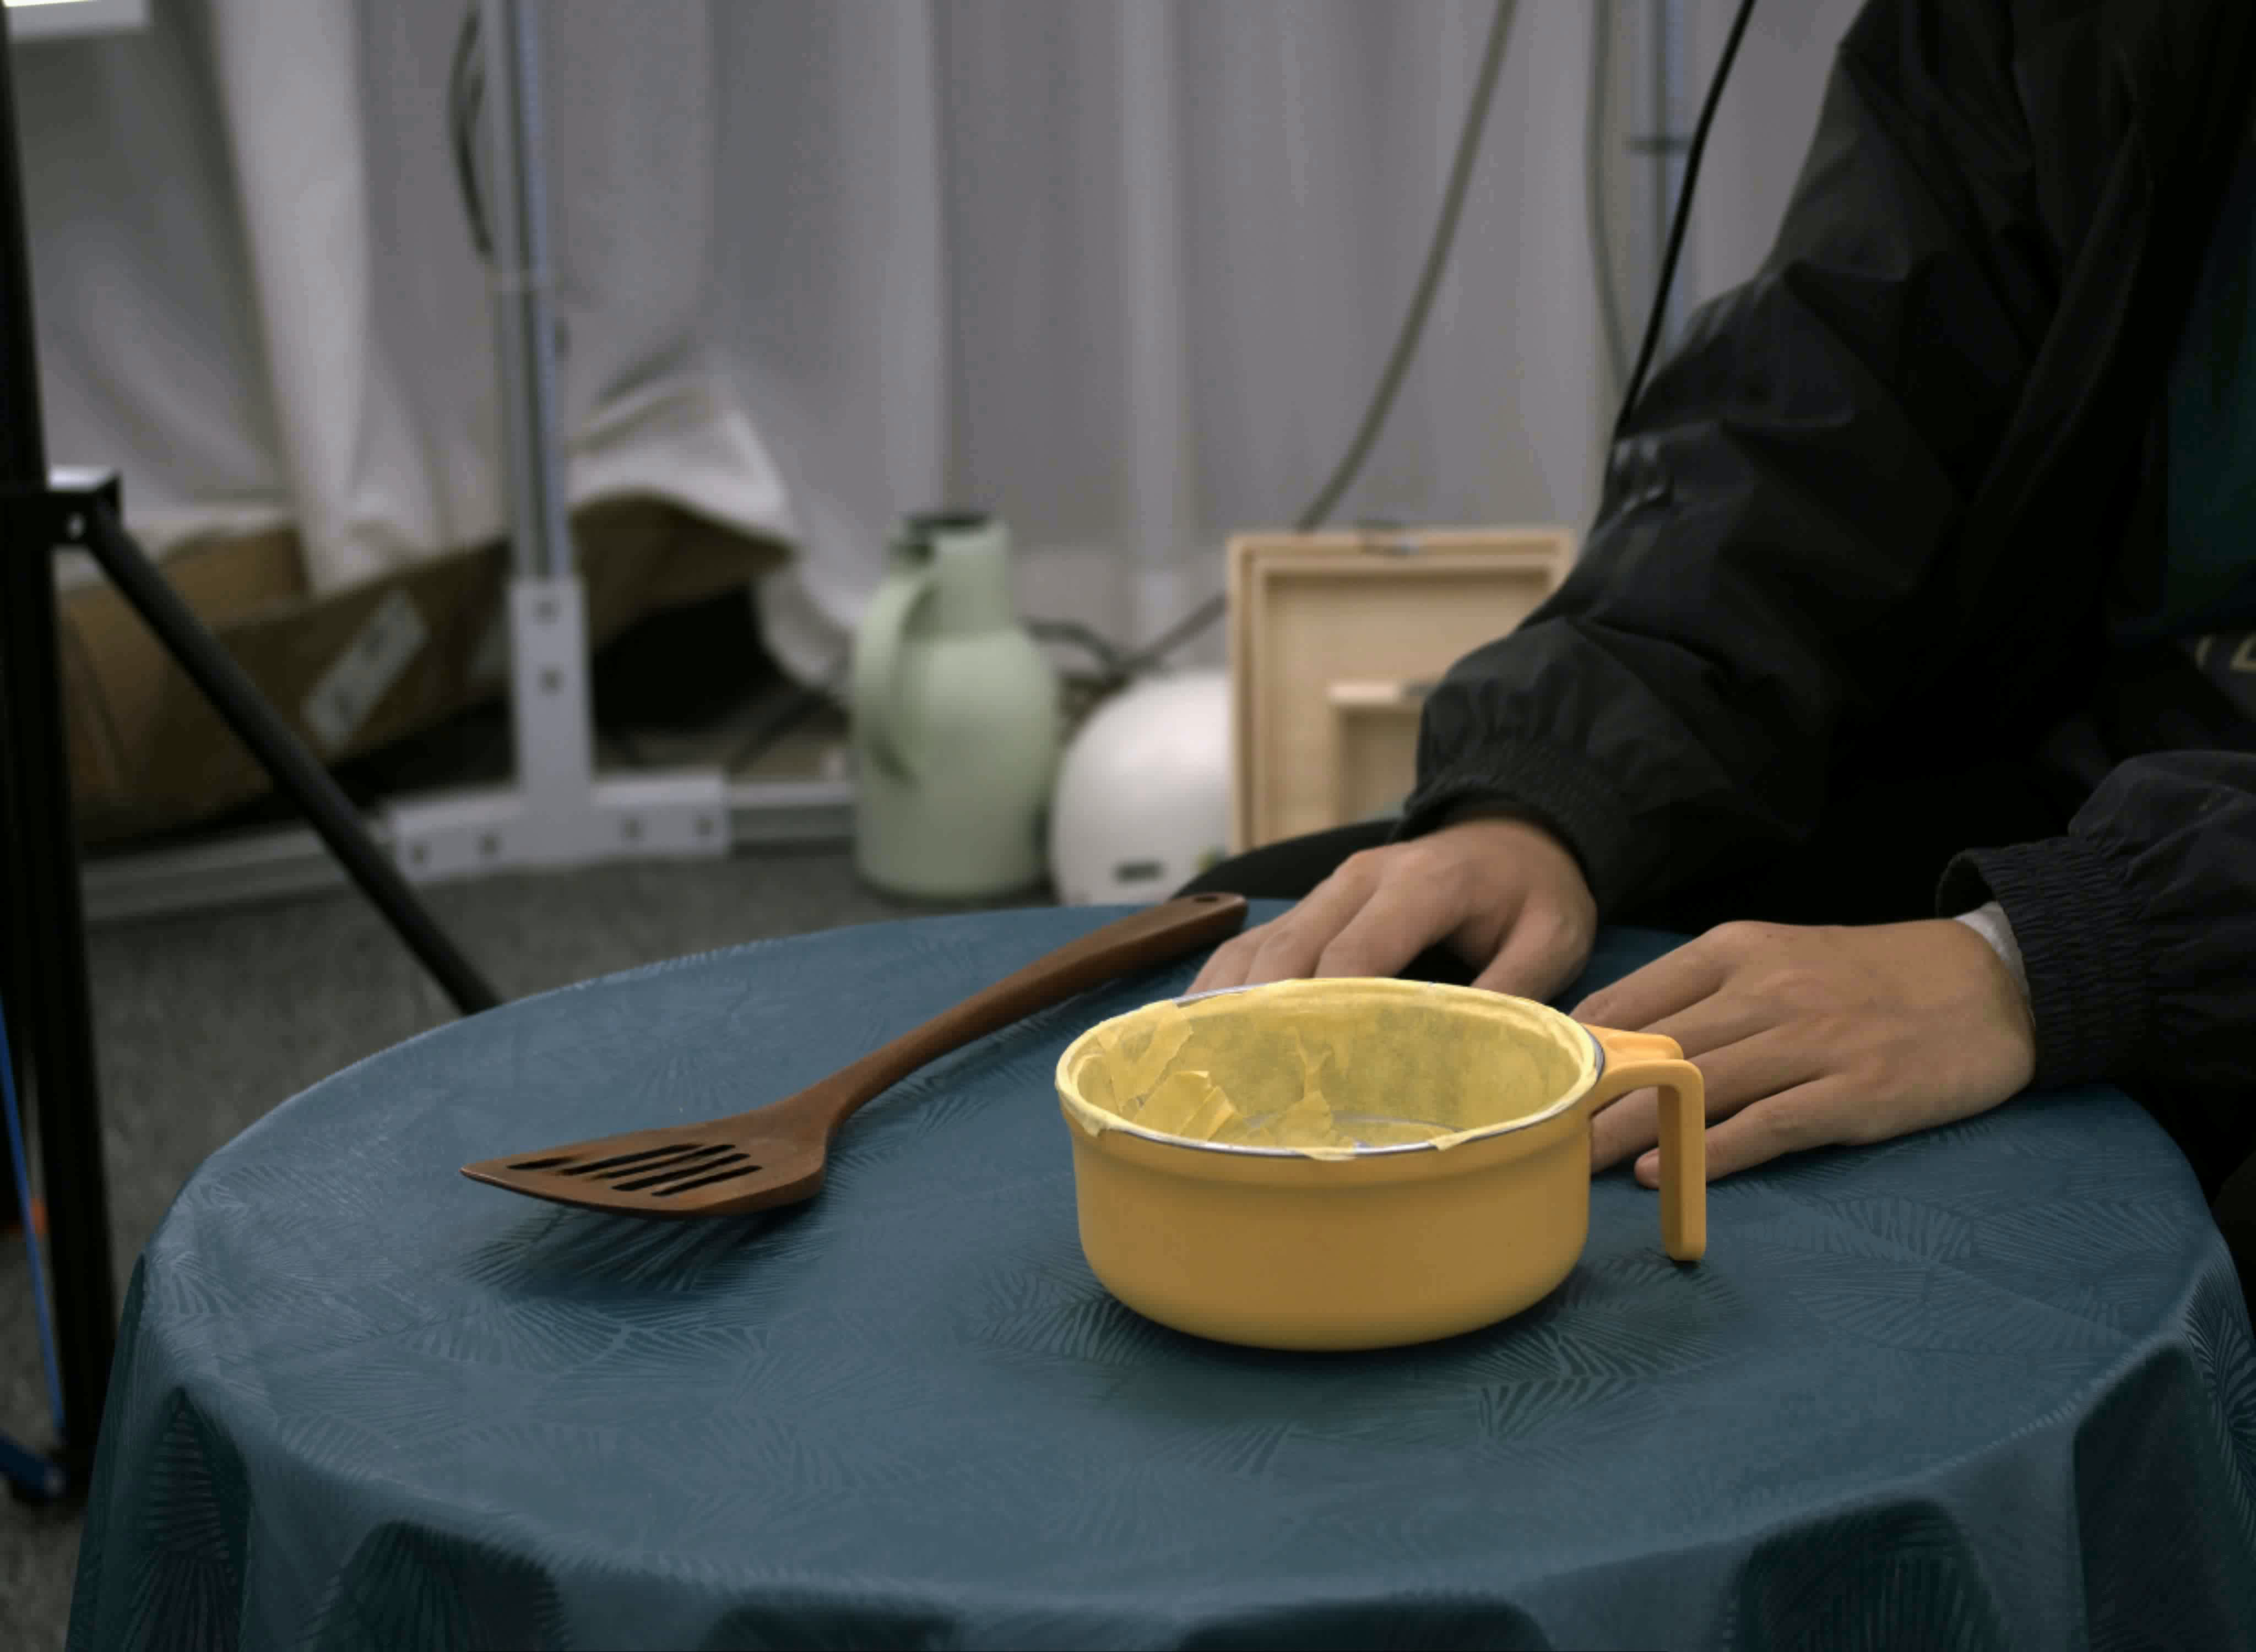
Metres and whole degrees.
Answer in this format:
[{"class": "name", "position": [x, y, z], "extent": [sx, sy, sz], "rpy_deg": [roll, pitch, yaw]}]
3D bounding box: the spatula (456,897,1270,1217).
[{"class": "spatula", "position": [-0.062, 0.071, 1.662], "extent": [0.087, 0.024, 0.379], "rpy_deg": [9, 18, 33]}]

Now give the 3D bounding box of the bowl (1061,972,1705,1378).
[{"class": "bowl", "position": [0.071, 0.098, 1.470], "extent": [0.177, 0.074, 0.155], "rpy_deg": [-6, 17, -11]}]
